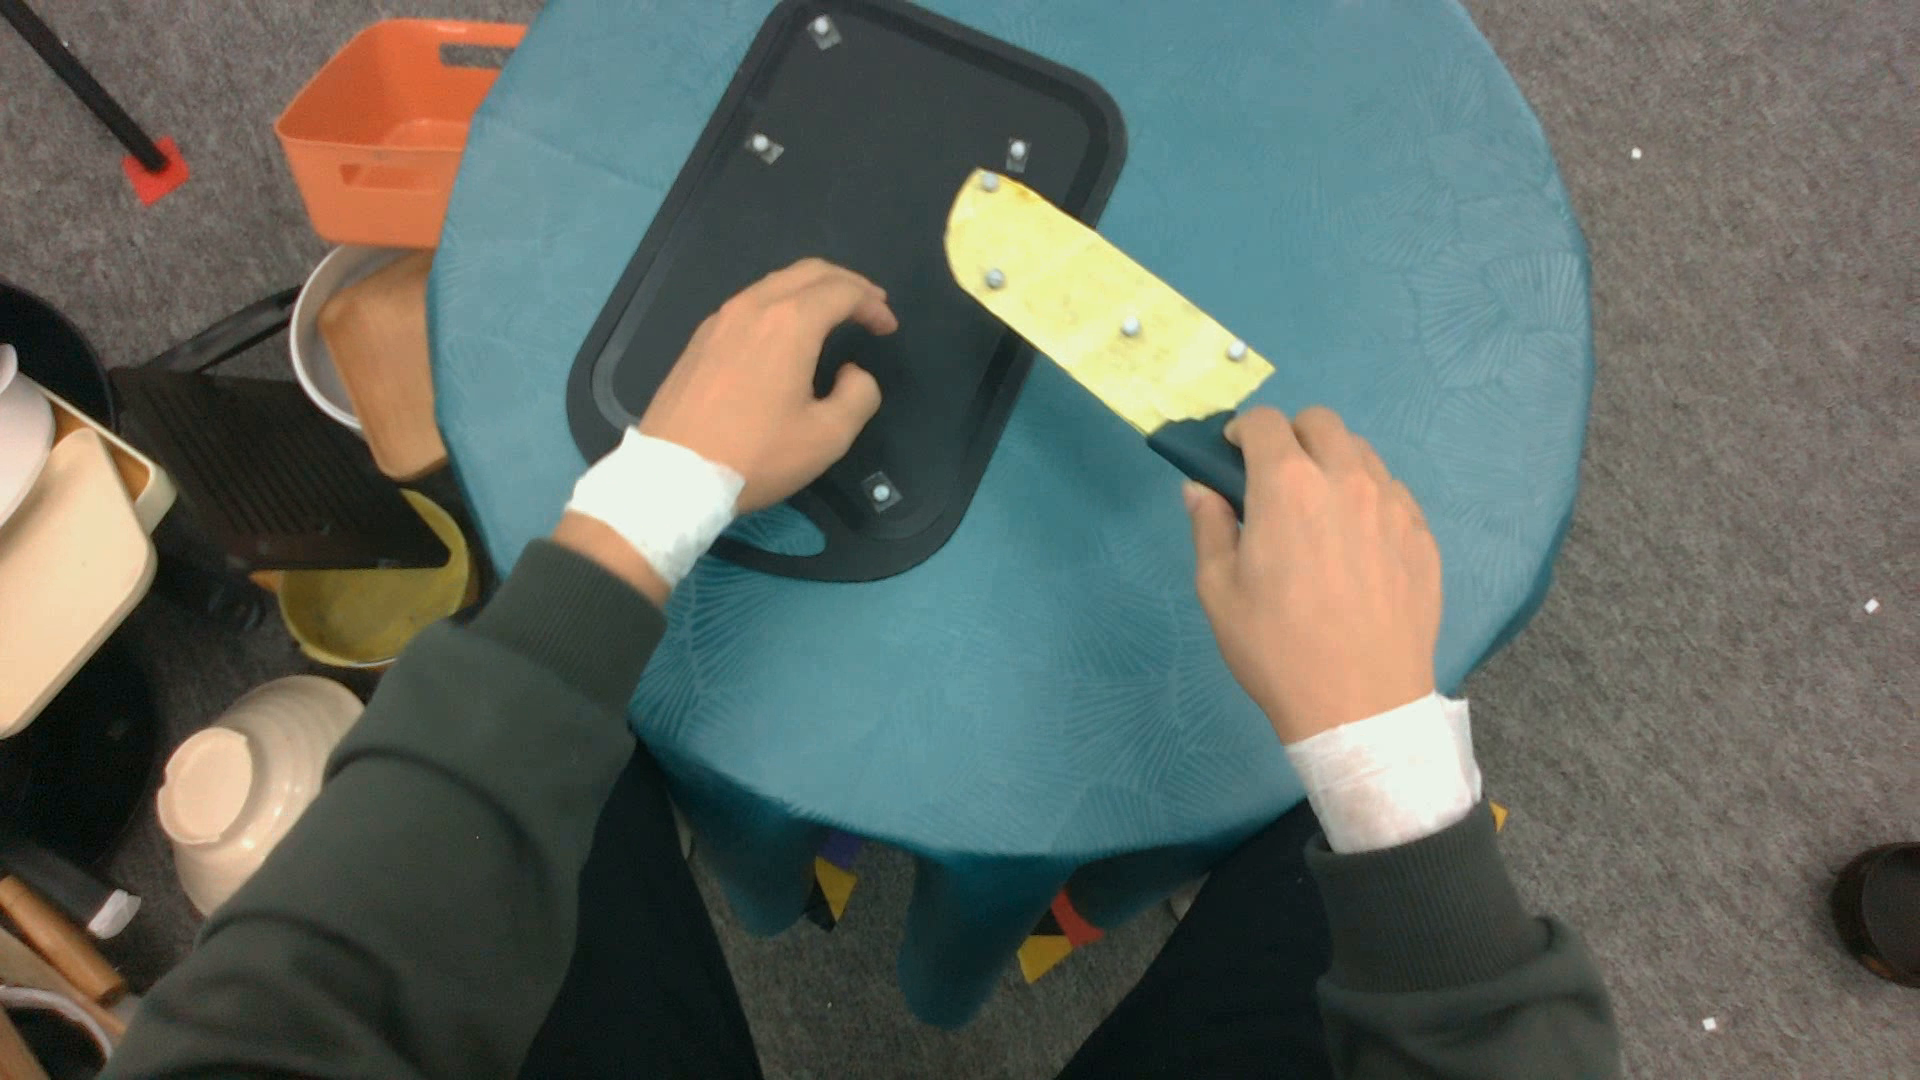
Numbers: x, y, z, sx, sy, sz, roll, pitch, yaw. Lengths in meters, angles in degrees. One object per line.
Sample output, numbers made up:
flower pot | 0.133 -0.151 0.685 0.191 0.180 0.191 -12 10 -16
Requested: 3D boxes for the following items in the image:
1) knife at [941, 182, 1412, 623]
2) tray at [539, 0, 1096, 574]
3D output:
knife | 0.094 -0.073 0.613 0.081 0.027 0.290 -36 69 -22
tray | -0.070 -0.140 0.708 0.211 0.010 0.326 23 72 3
